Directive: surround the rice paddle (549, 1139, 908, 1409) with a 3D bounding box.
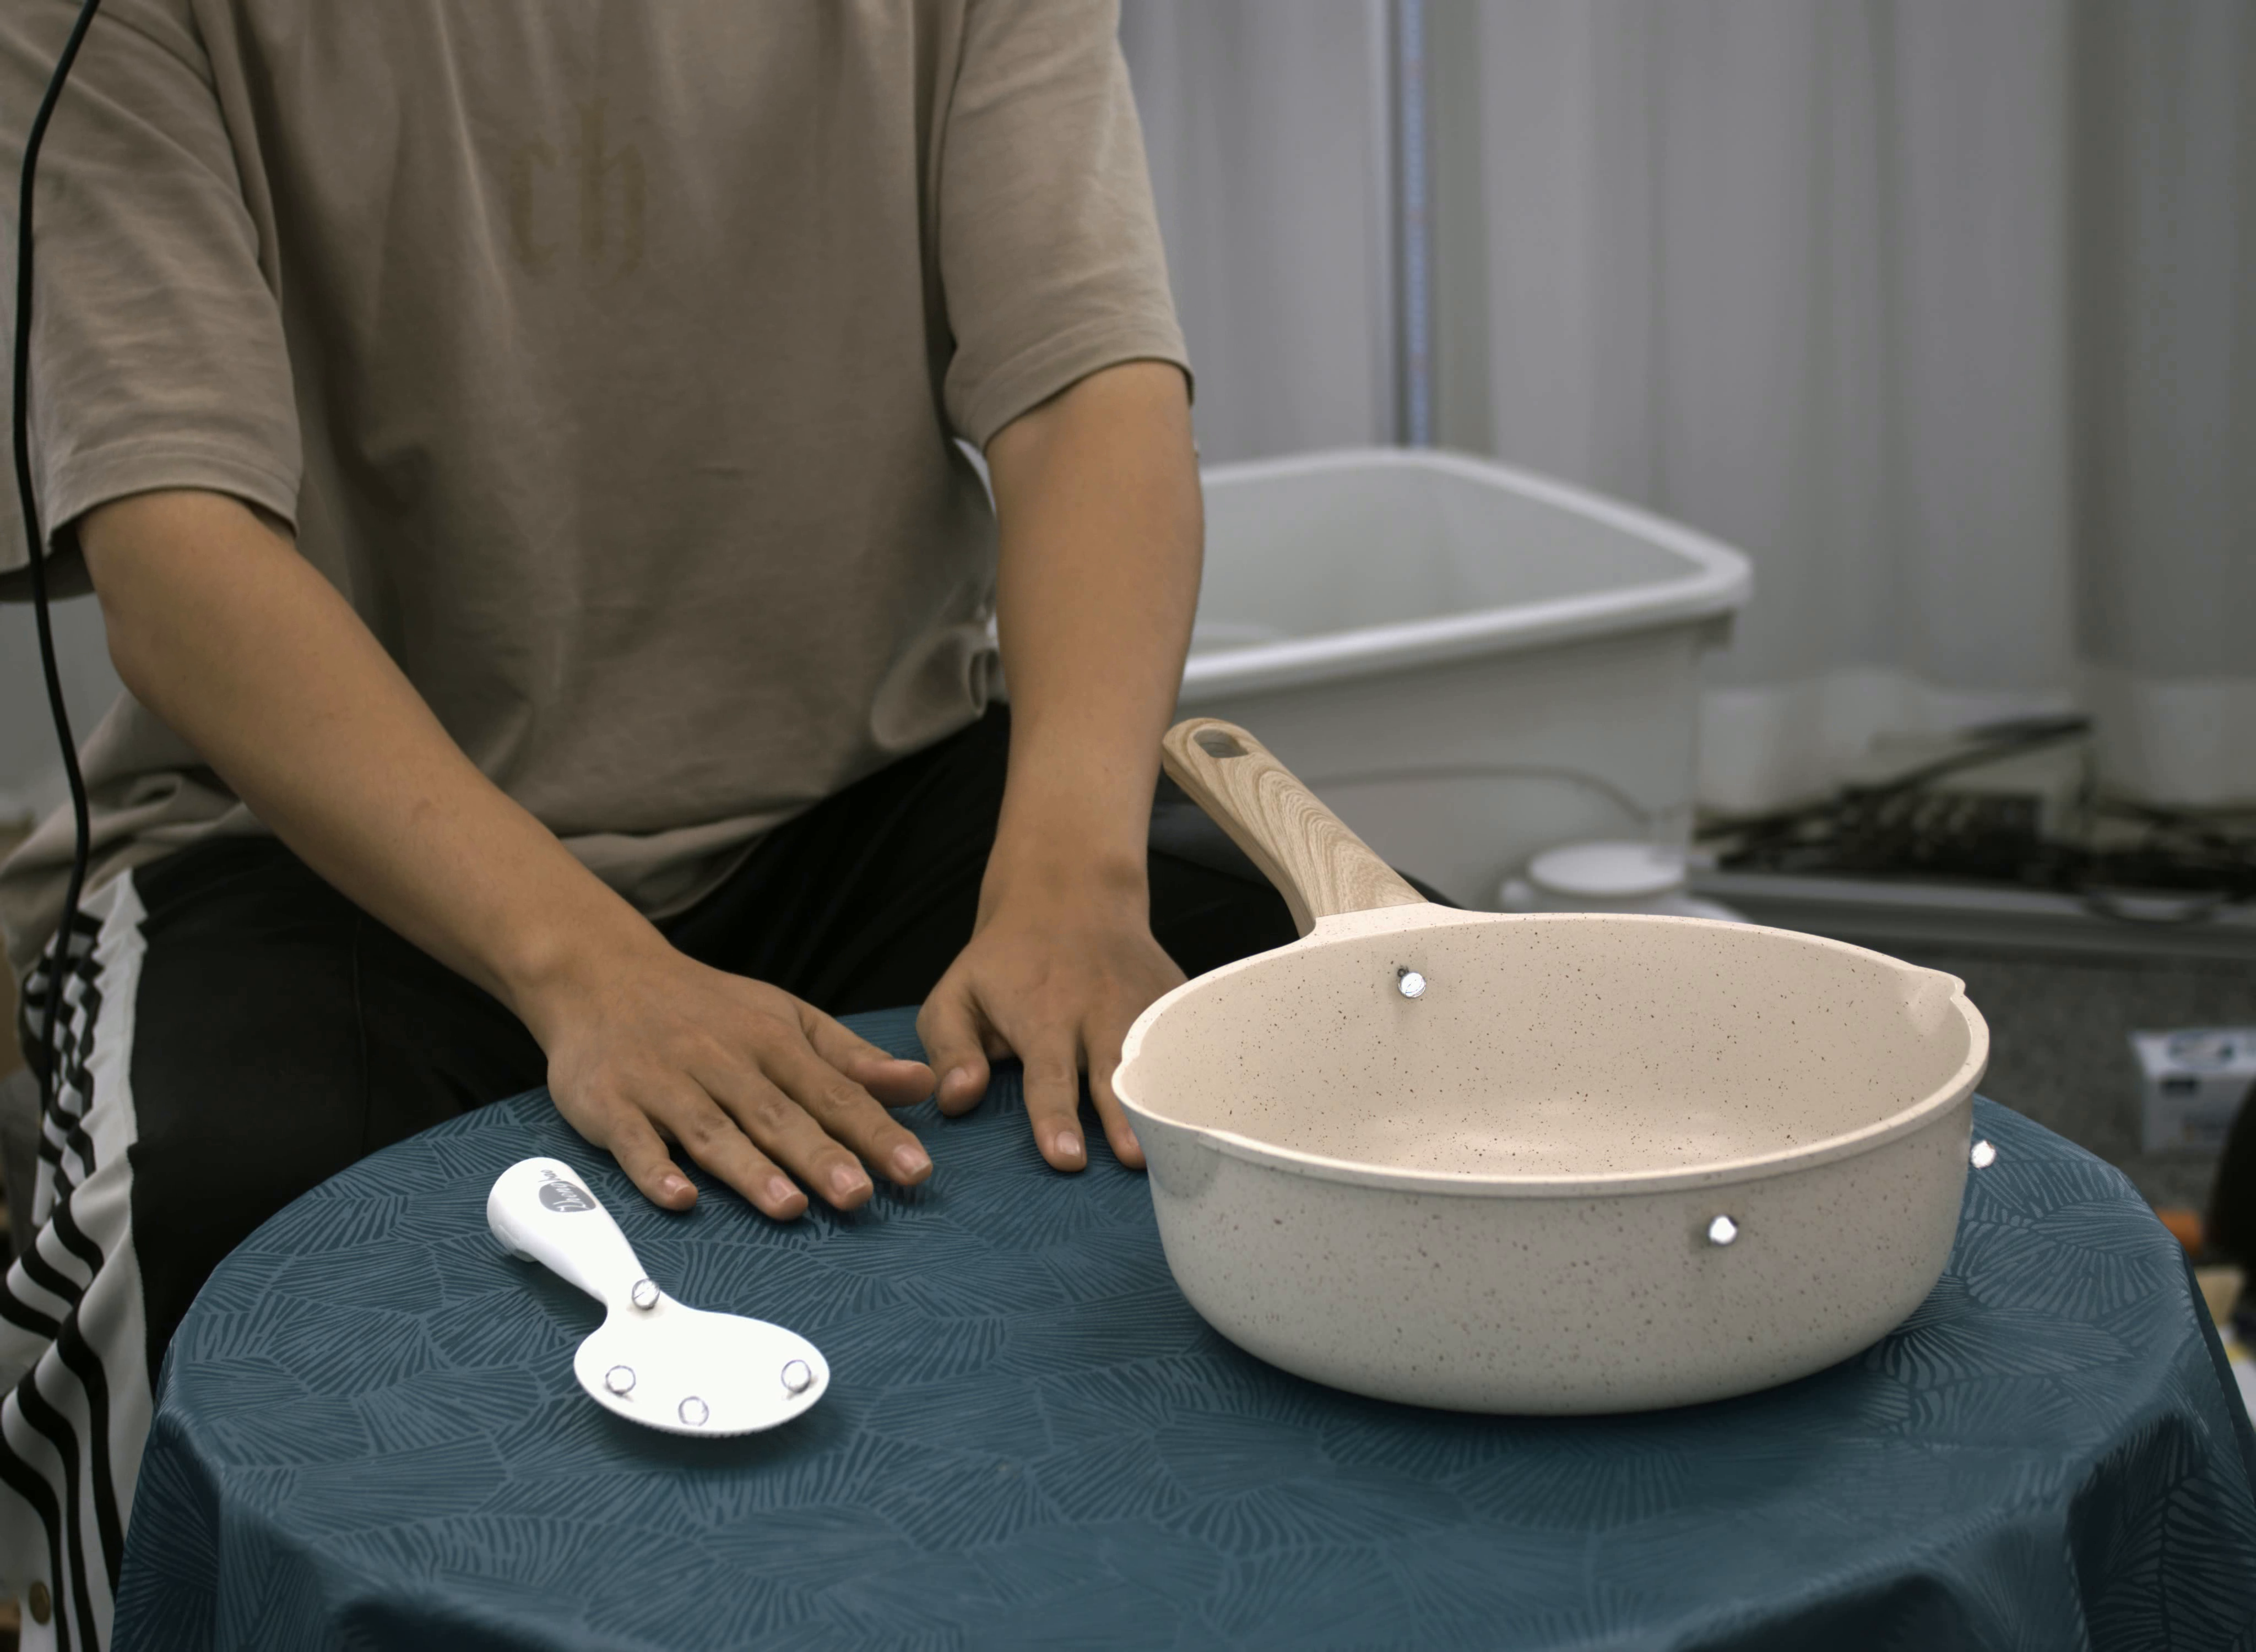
[{"bbox_3d":[-0.122,0.132,1.593,0.068,0.029,0.207,-11,17,-22],"label":"rice paddle"}]

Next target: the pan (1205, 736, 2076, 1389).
[{"bbox_3d":[0.120,0.065,1.680,0.262,0.101,0.438,-10,16,-17],"label":"pan"}]
